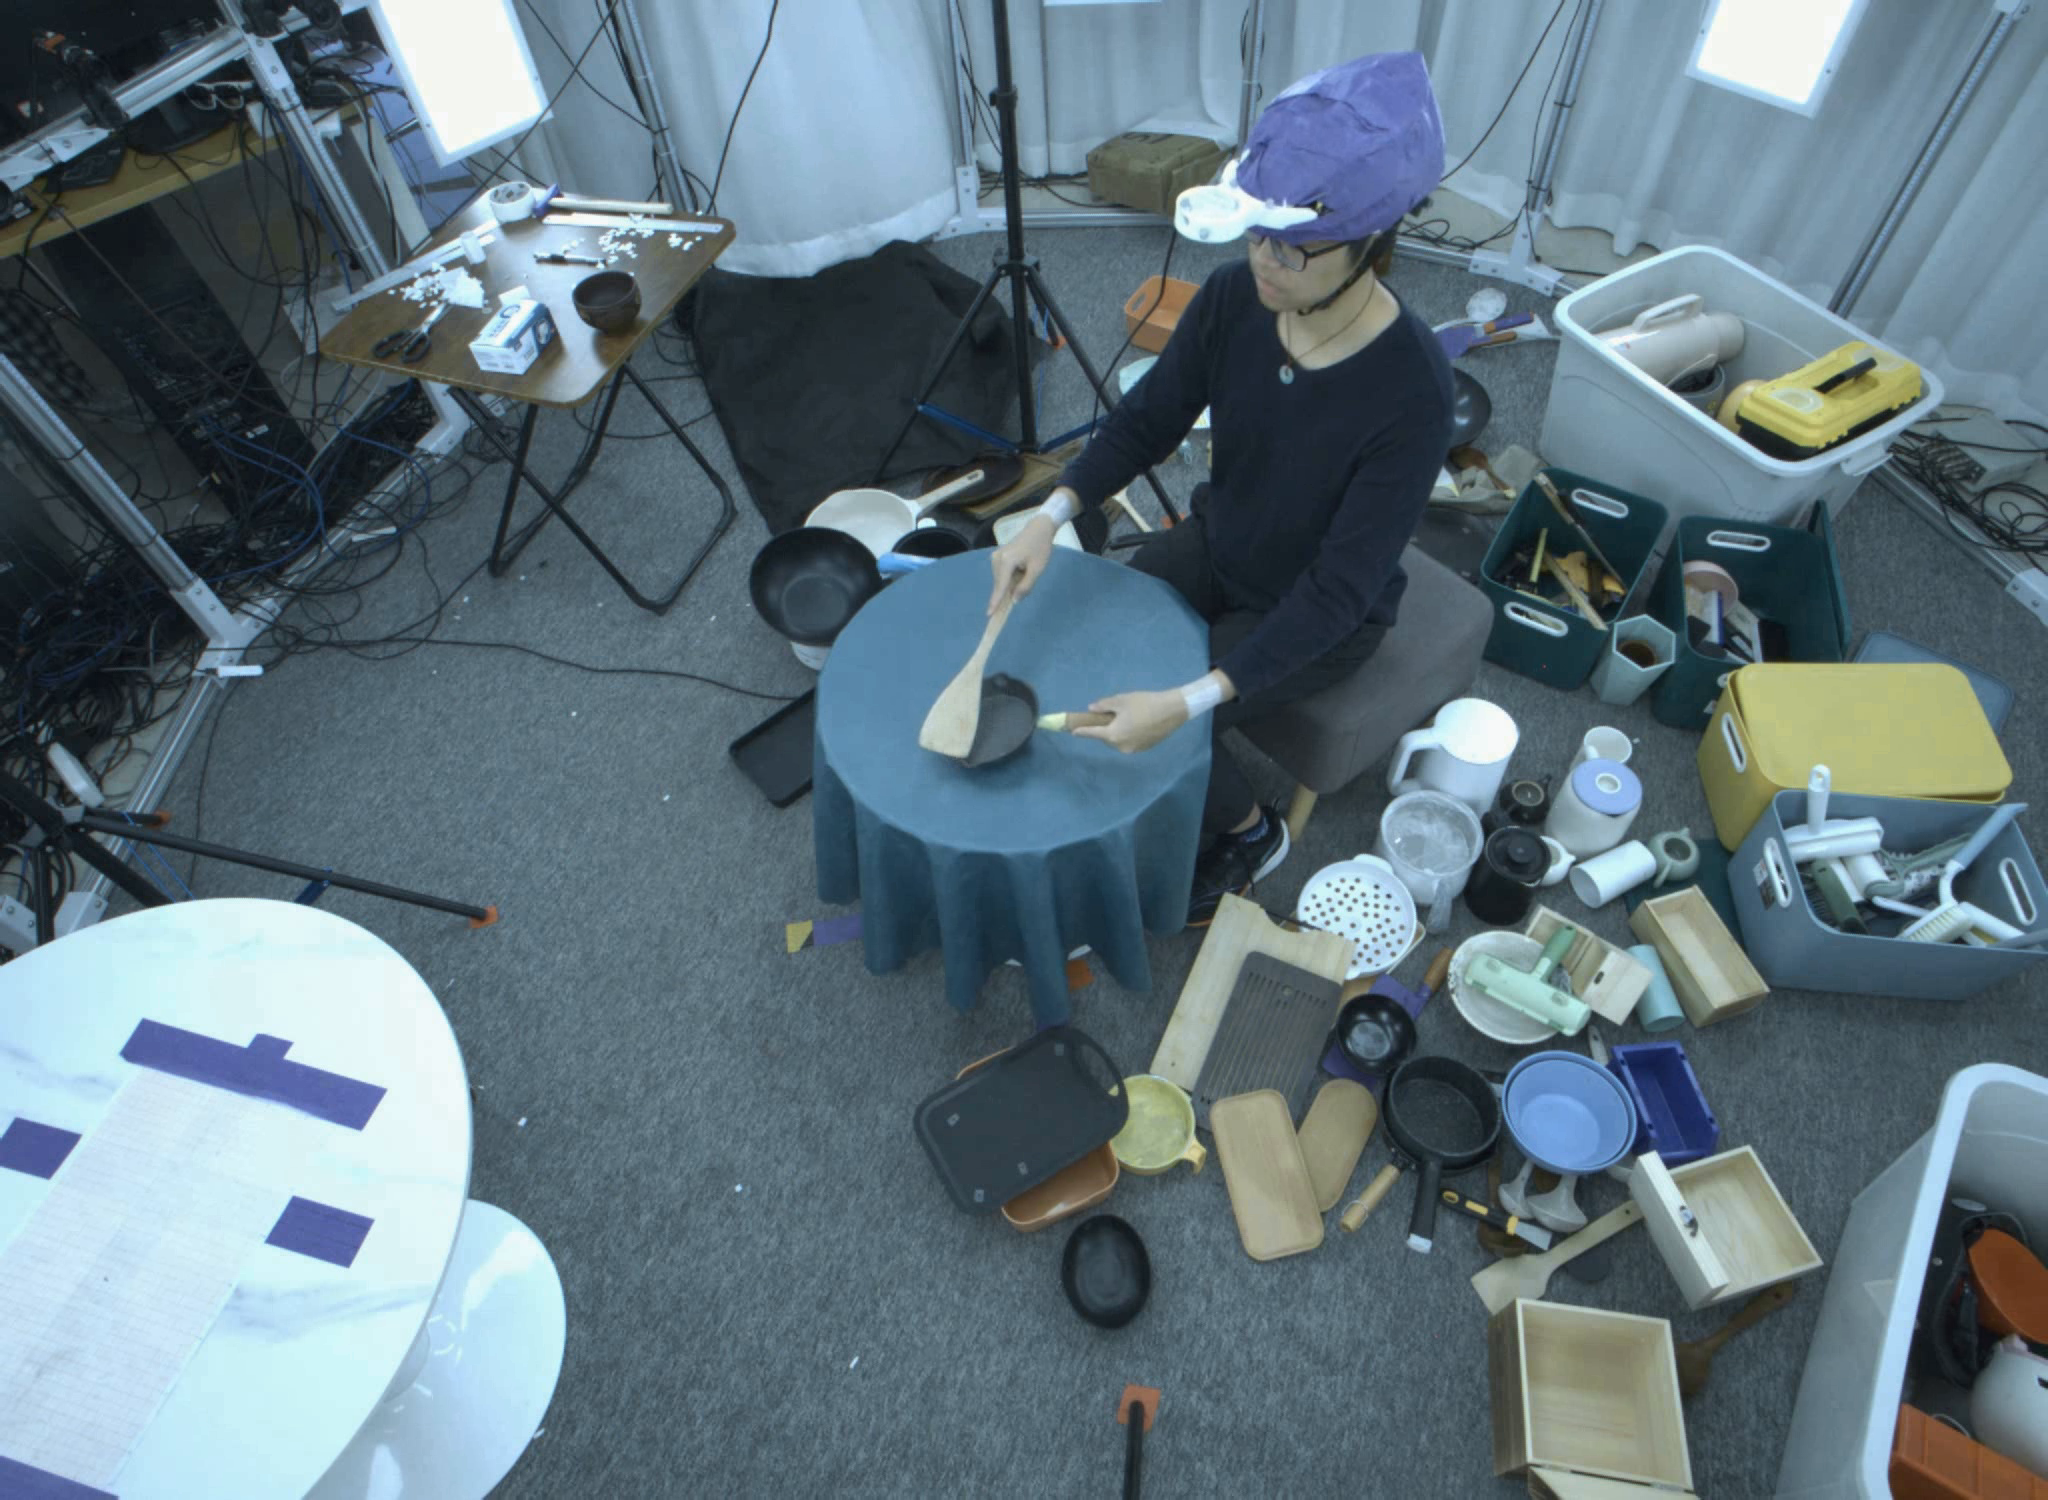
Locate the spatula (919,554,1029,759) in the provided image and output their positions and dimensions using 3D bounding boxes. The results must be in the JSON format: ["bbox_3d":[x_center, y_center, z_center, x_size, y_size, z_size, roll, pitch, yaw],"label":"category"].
[{"bbox_3d":[-0.059,-0.139,1.773,0.081,0.016,0.327,27,79,-23],"label":"spatula"}]

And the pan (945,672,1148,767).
[{"bbox_3d":[0.025,-0.037,1.738,0.319,0.050,0.168,4,58,25],"label":"pan"}]
